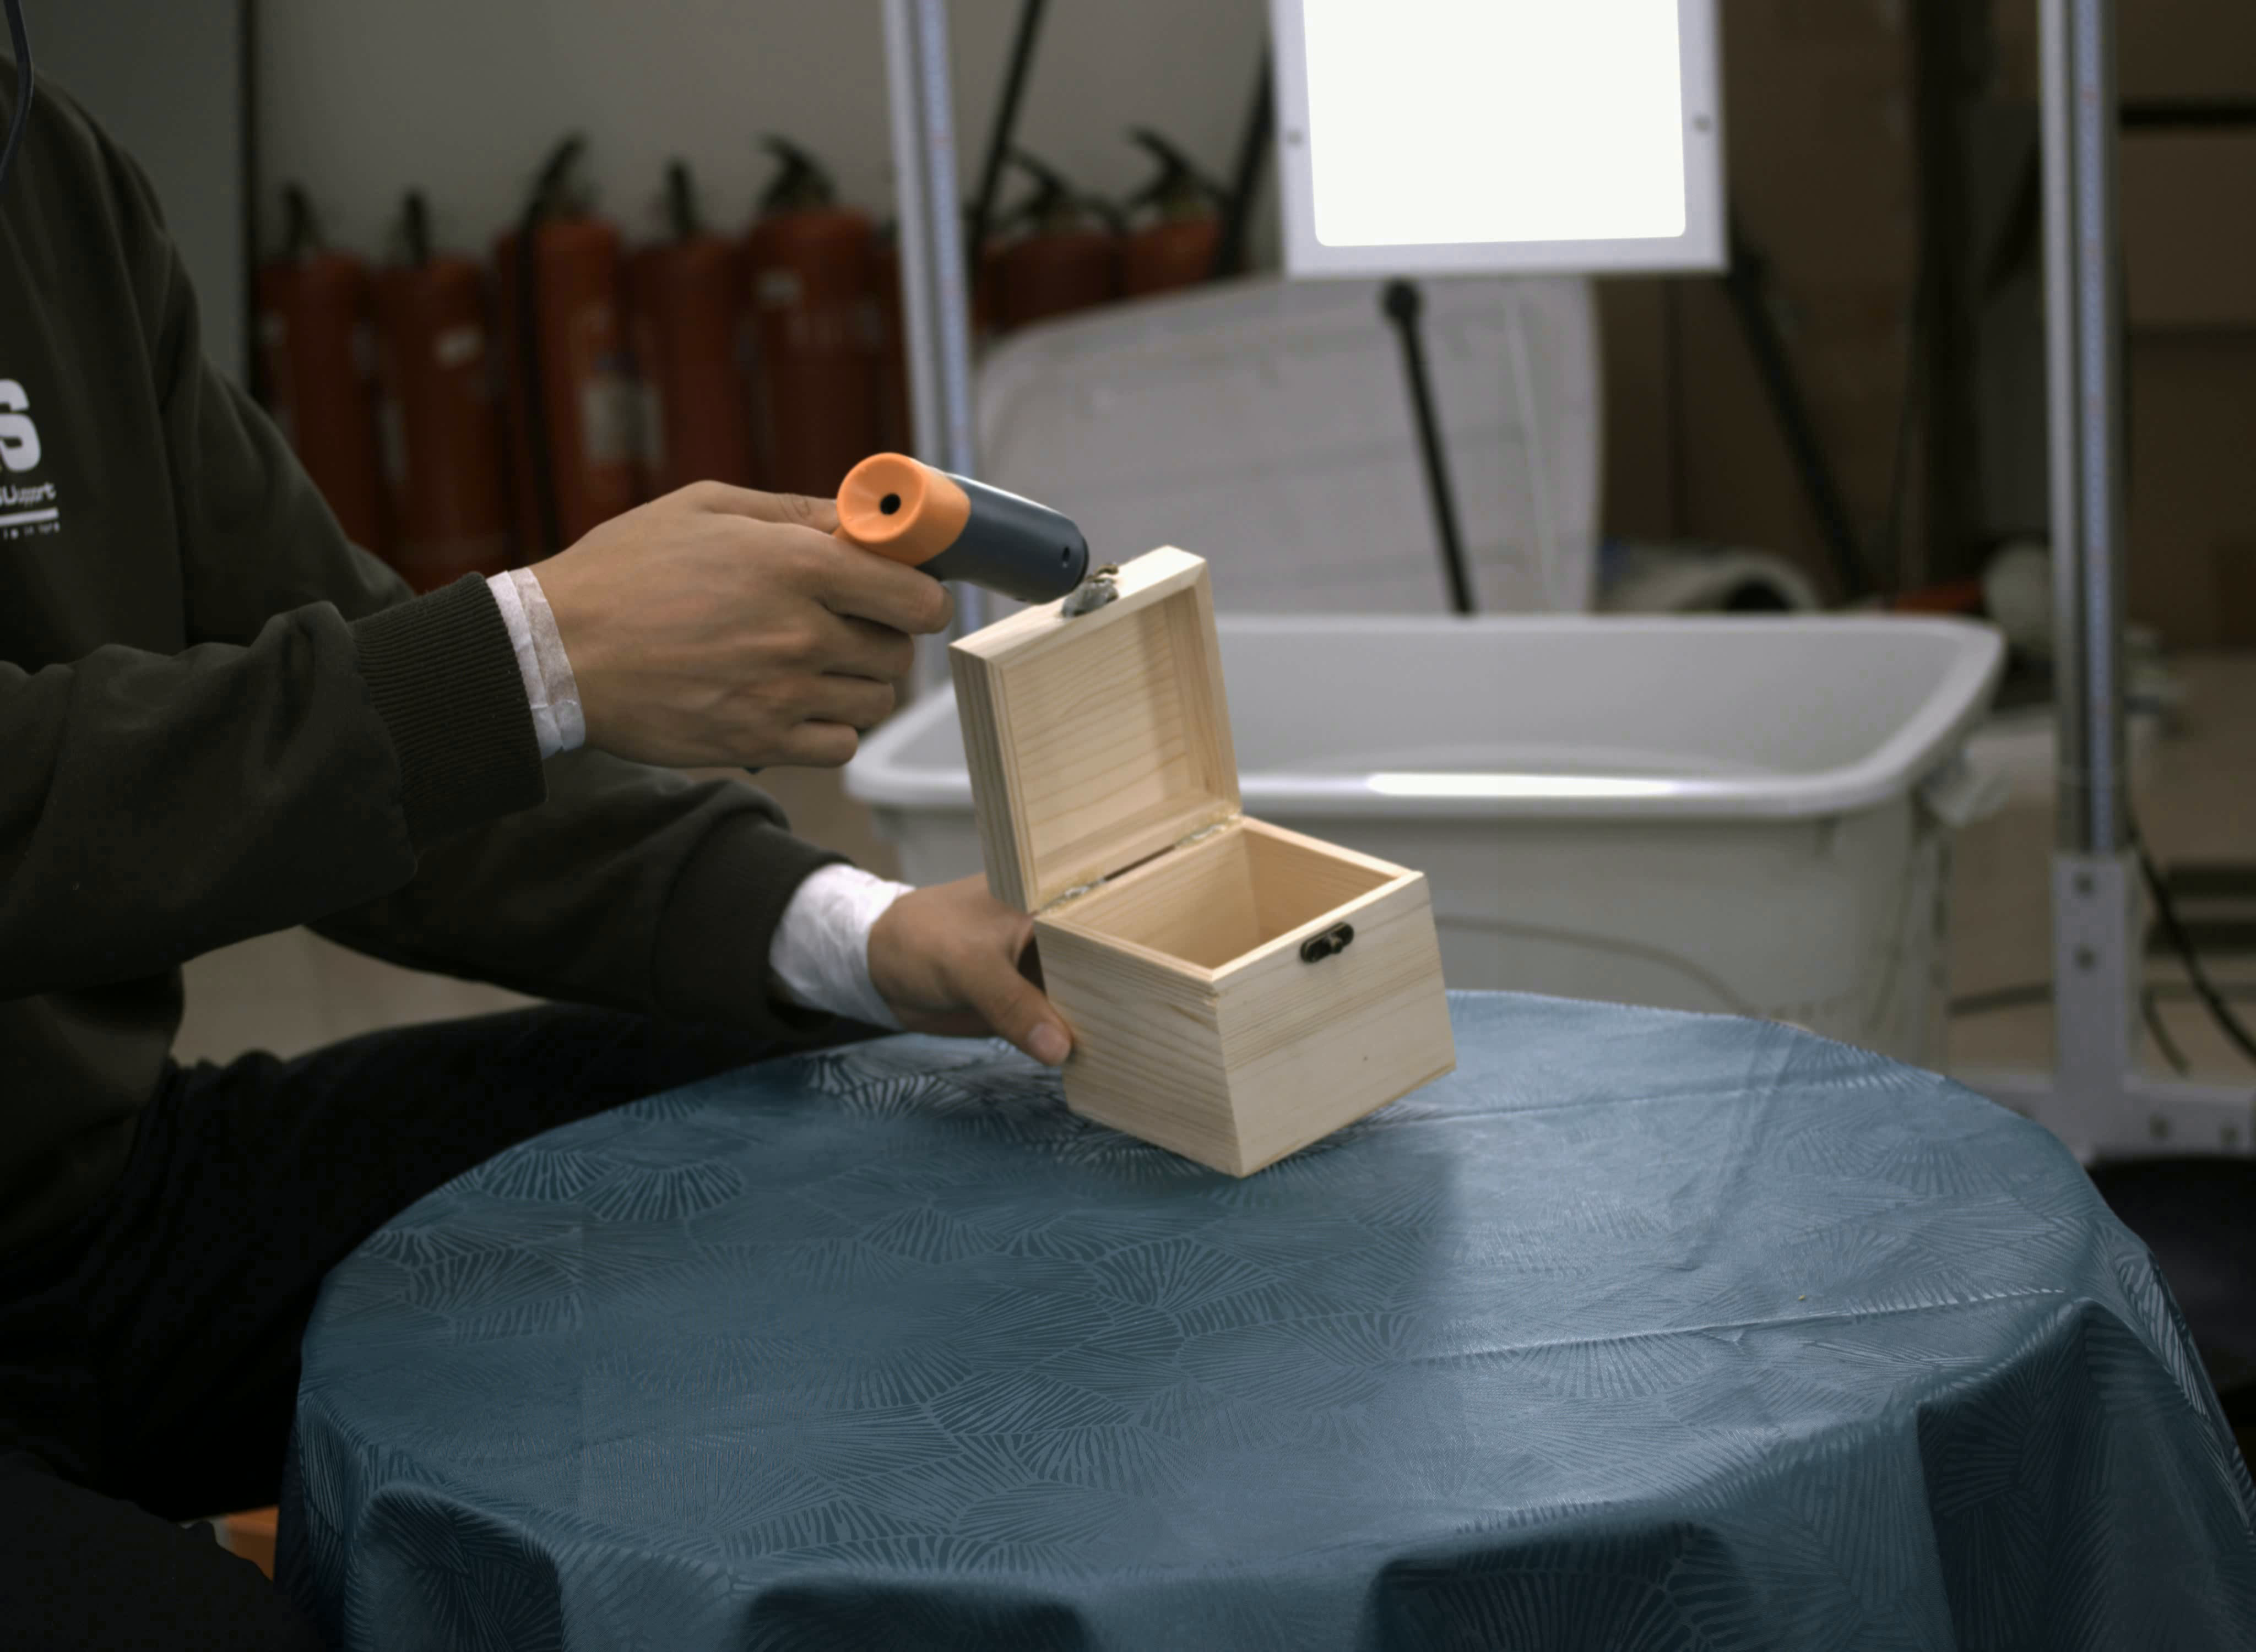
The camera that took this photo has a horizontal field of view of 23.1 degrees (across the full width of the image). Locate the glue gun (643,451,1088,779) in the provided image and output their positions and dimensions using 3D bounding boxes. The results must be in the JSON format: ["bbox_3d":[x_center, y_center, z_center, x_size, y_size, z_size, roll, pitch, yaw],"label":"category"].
[{"bbox_3d":[-0.087,-0.074,1.881,0.140,0.041,0.116,-32,-29,9],"label":"glue gun"}]

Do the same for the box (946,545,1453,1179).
[{"bbox_3d":[0.027,0.010,1.939,0.100,0.185,0.136,-25,26,-31],"label":"box"}]
